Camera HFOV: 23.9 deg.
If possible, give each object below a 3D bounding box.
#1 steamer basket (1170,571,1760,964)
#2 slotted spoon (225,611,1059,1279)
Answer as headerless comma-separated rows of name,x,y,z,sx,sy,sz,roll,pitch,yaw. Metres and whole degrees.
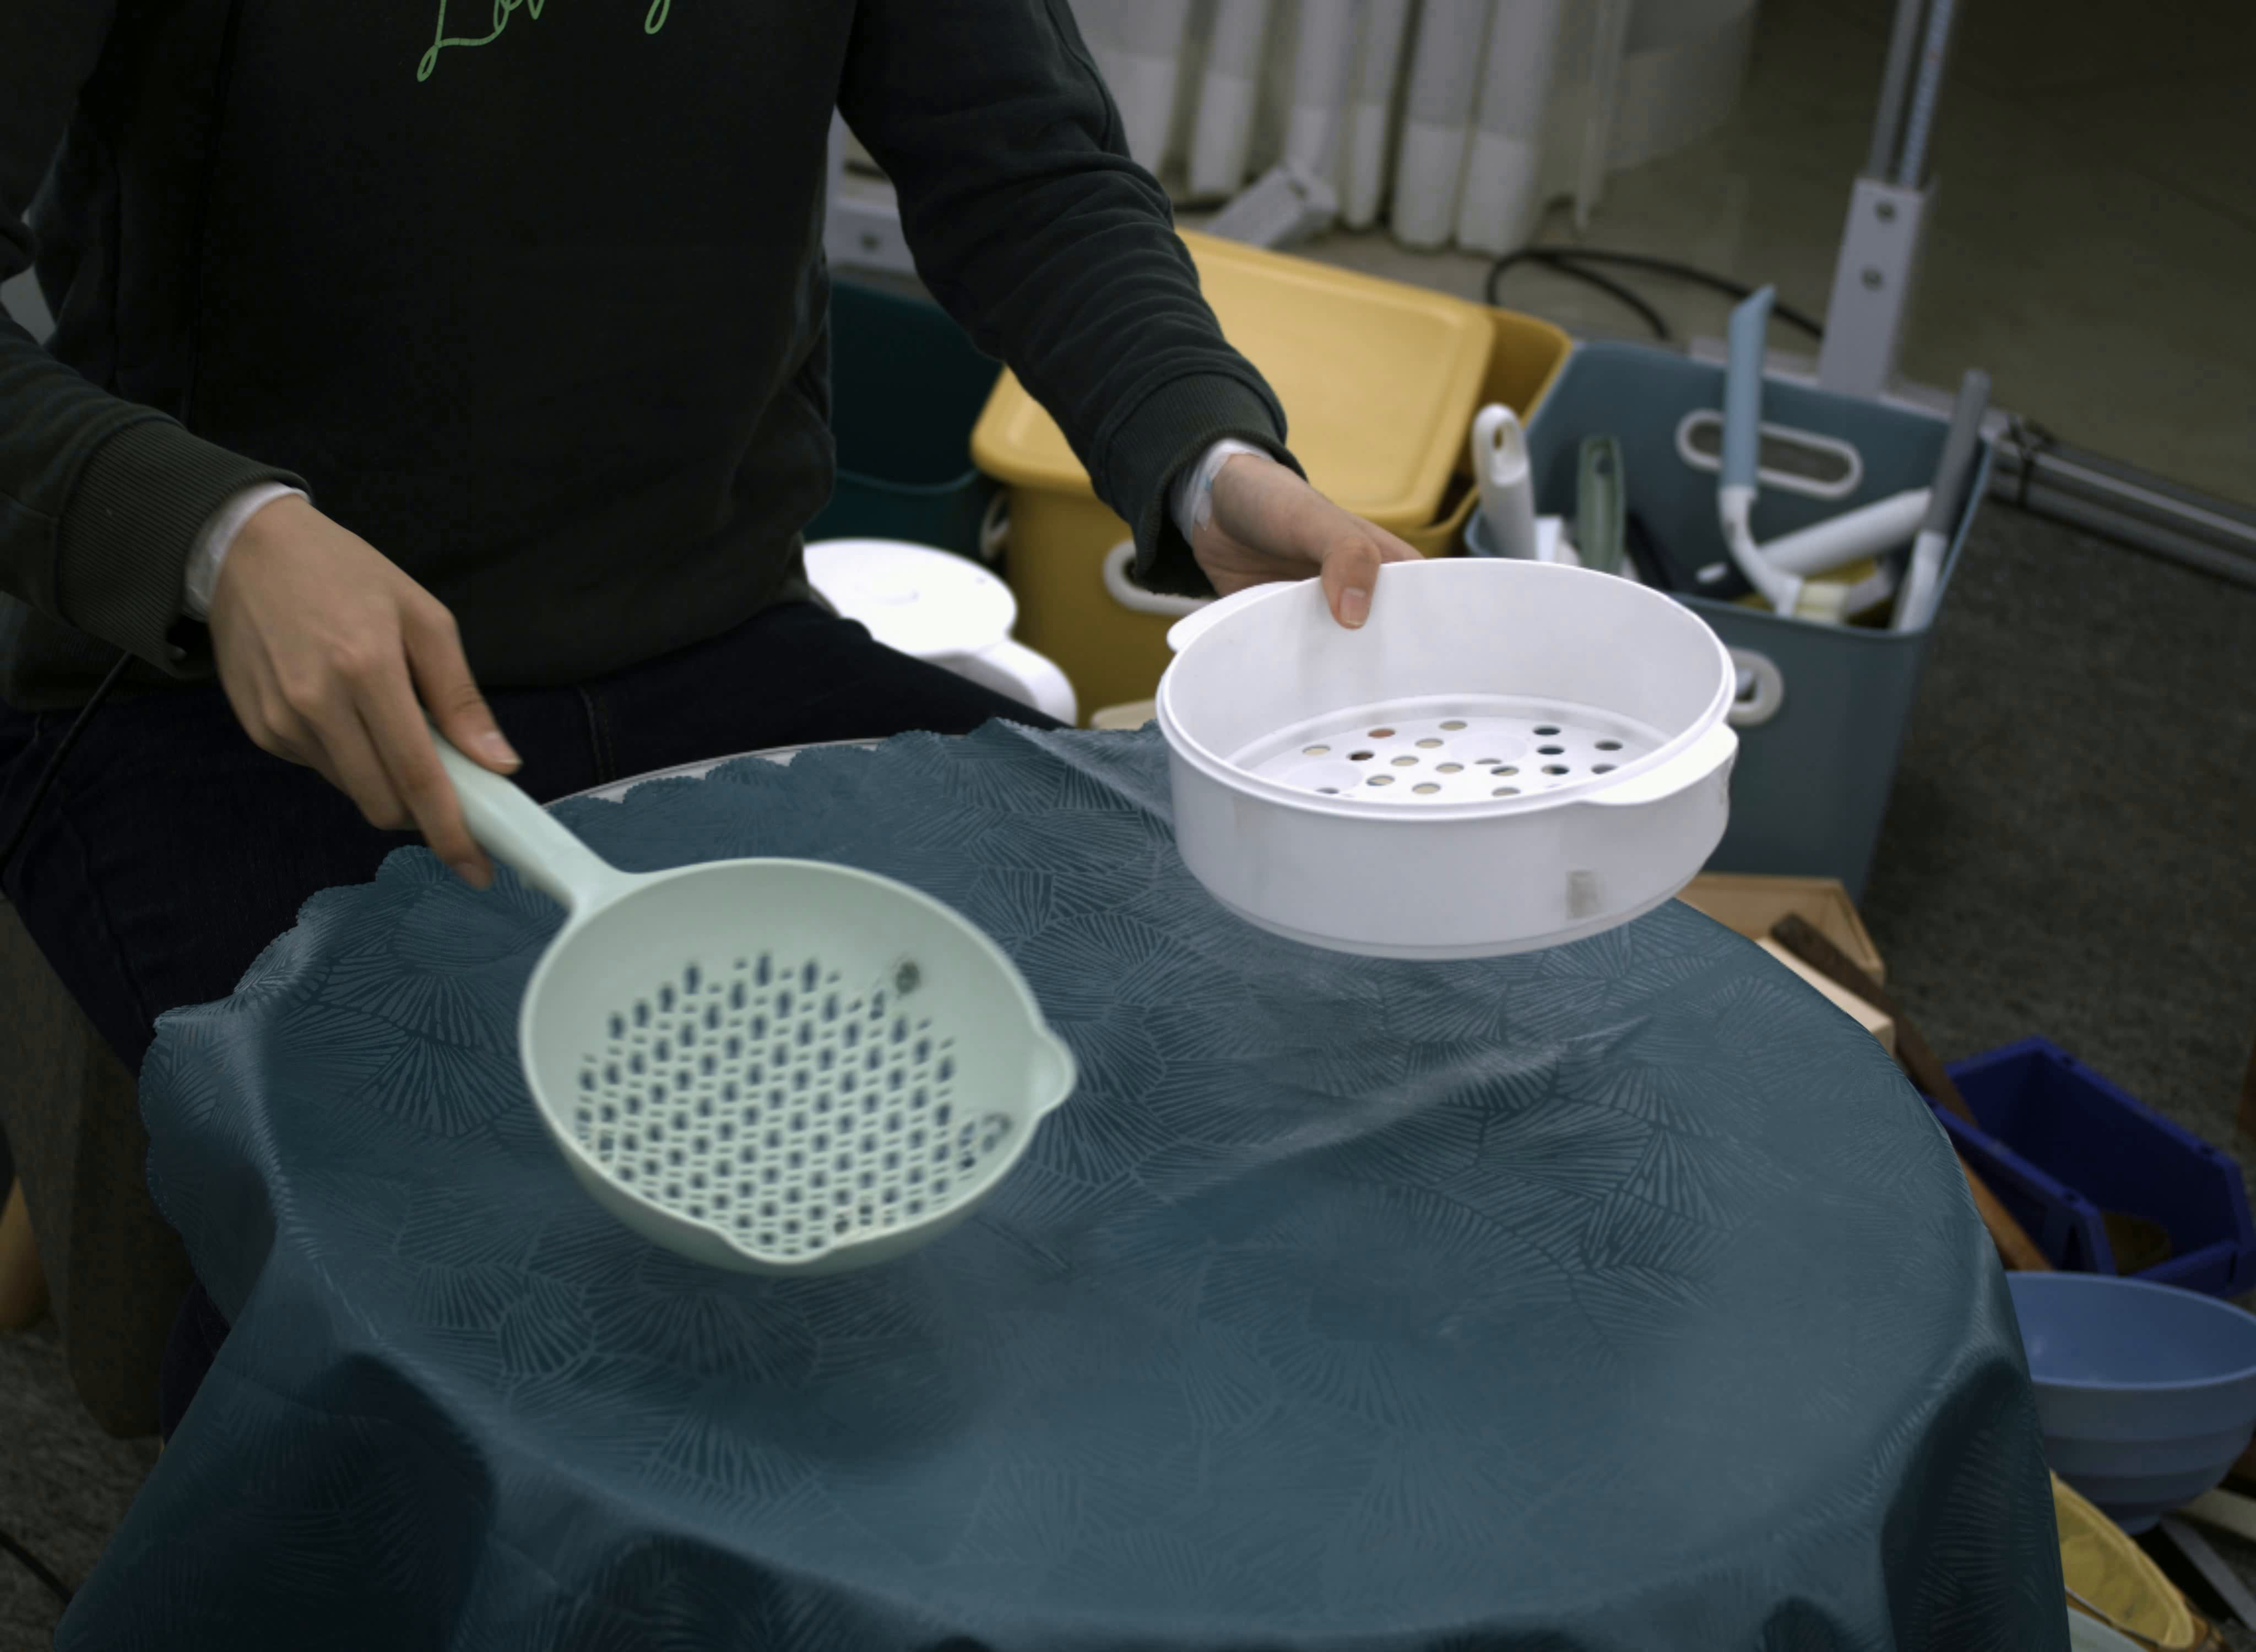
steamer basket,0.116,-0.020,1.843,0.232,0.069,0.201,20,35,41
slotted spoon,-0.183,0.024,1.752,0.169,0.075,0.361,-28,62,-37
